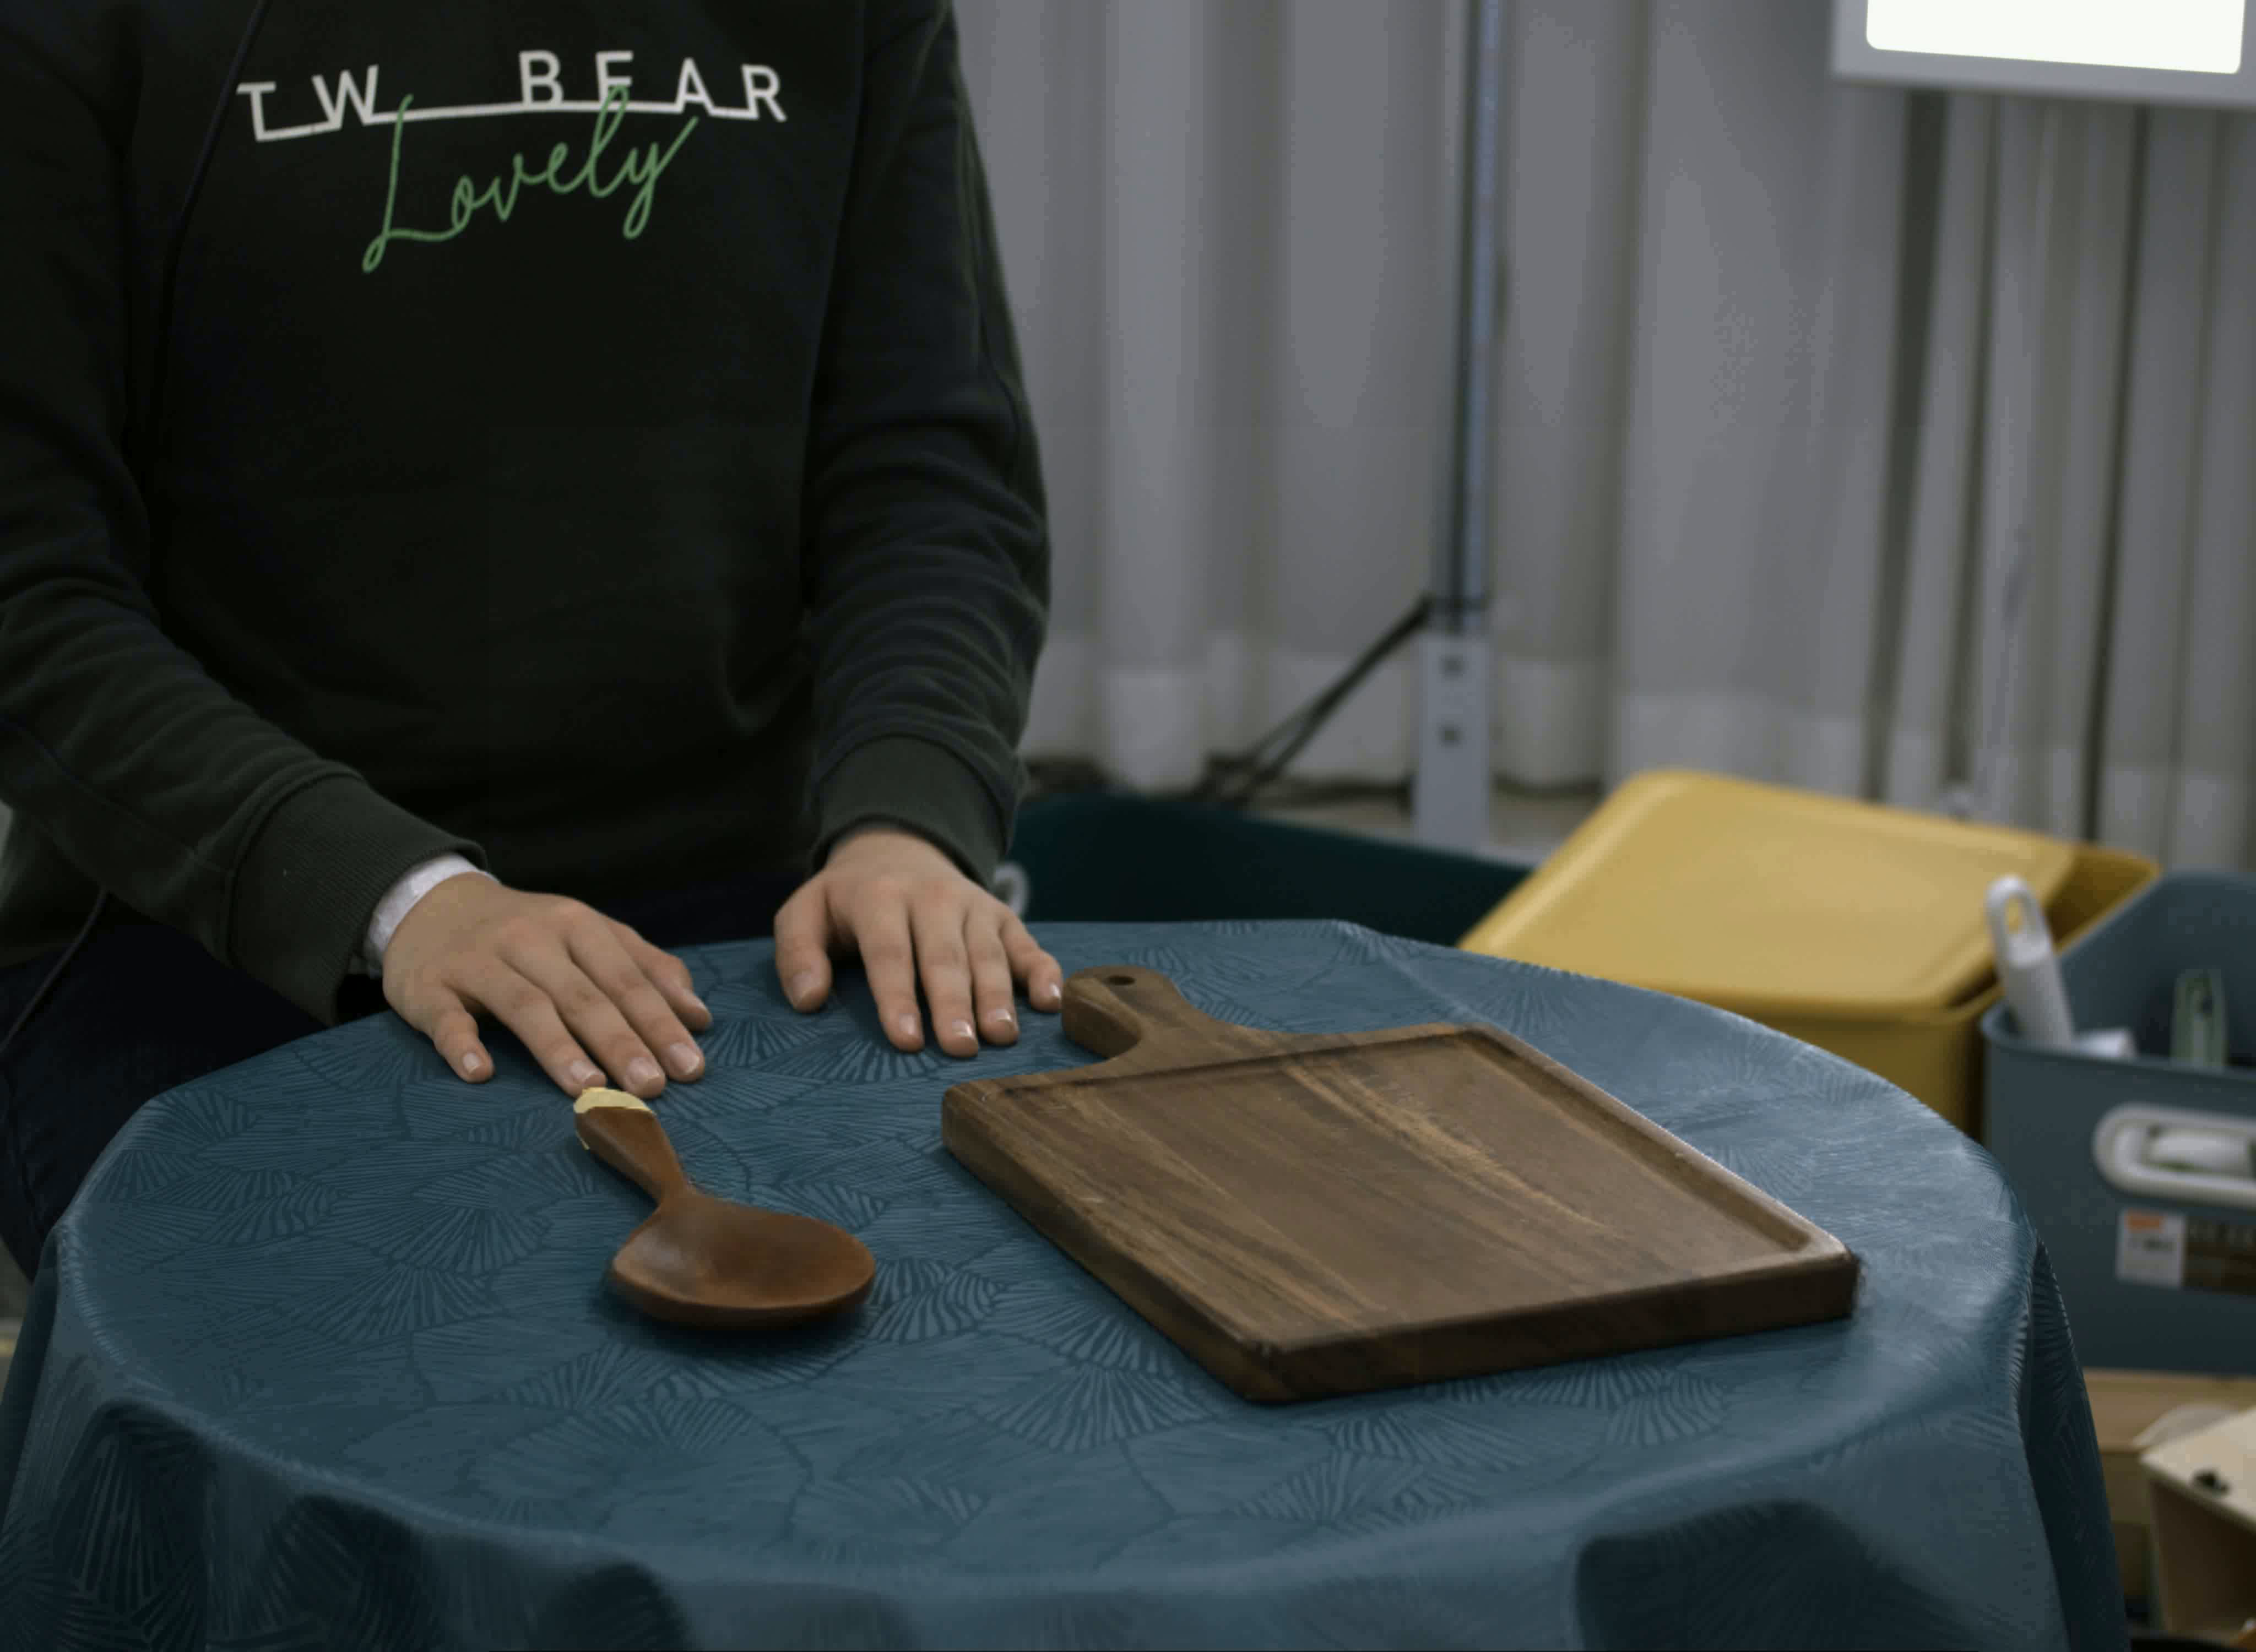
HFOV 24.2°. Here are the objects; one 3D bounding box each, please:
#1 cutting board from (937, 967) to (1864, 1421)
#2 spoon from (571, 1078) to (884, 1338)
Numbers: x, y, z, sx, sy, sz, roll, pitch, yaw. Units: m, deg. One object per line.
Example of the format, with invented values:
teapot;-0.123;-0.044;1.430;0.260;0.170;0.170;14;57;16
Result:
cutting board;0.058;0.101;1.638;0.201;0.023;0.348;-7;17;-22
spoon;-0.130;0.115;1.580;0.075;0.017;0.213;-7;18;-19
